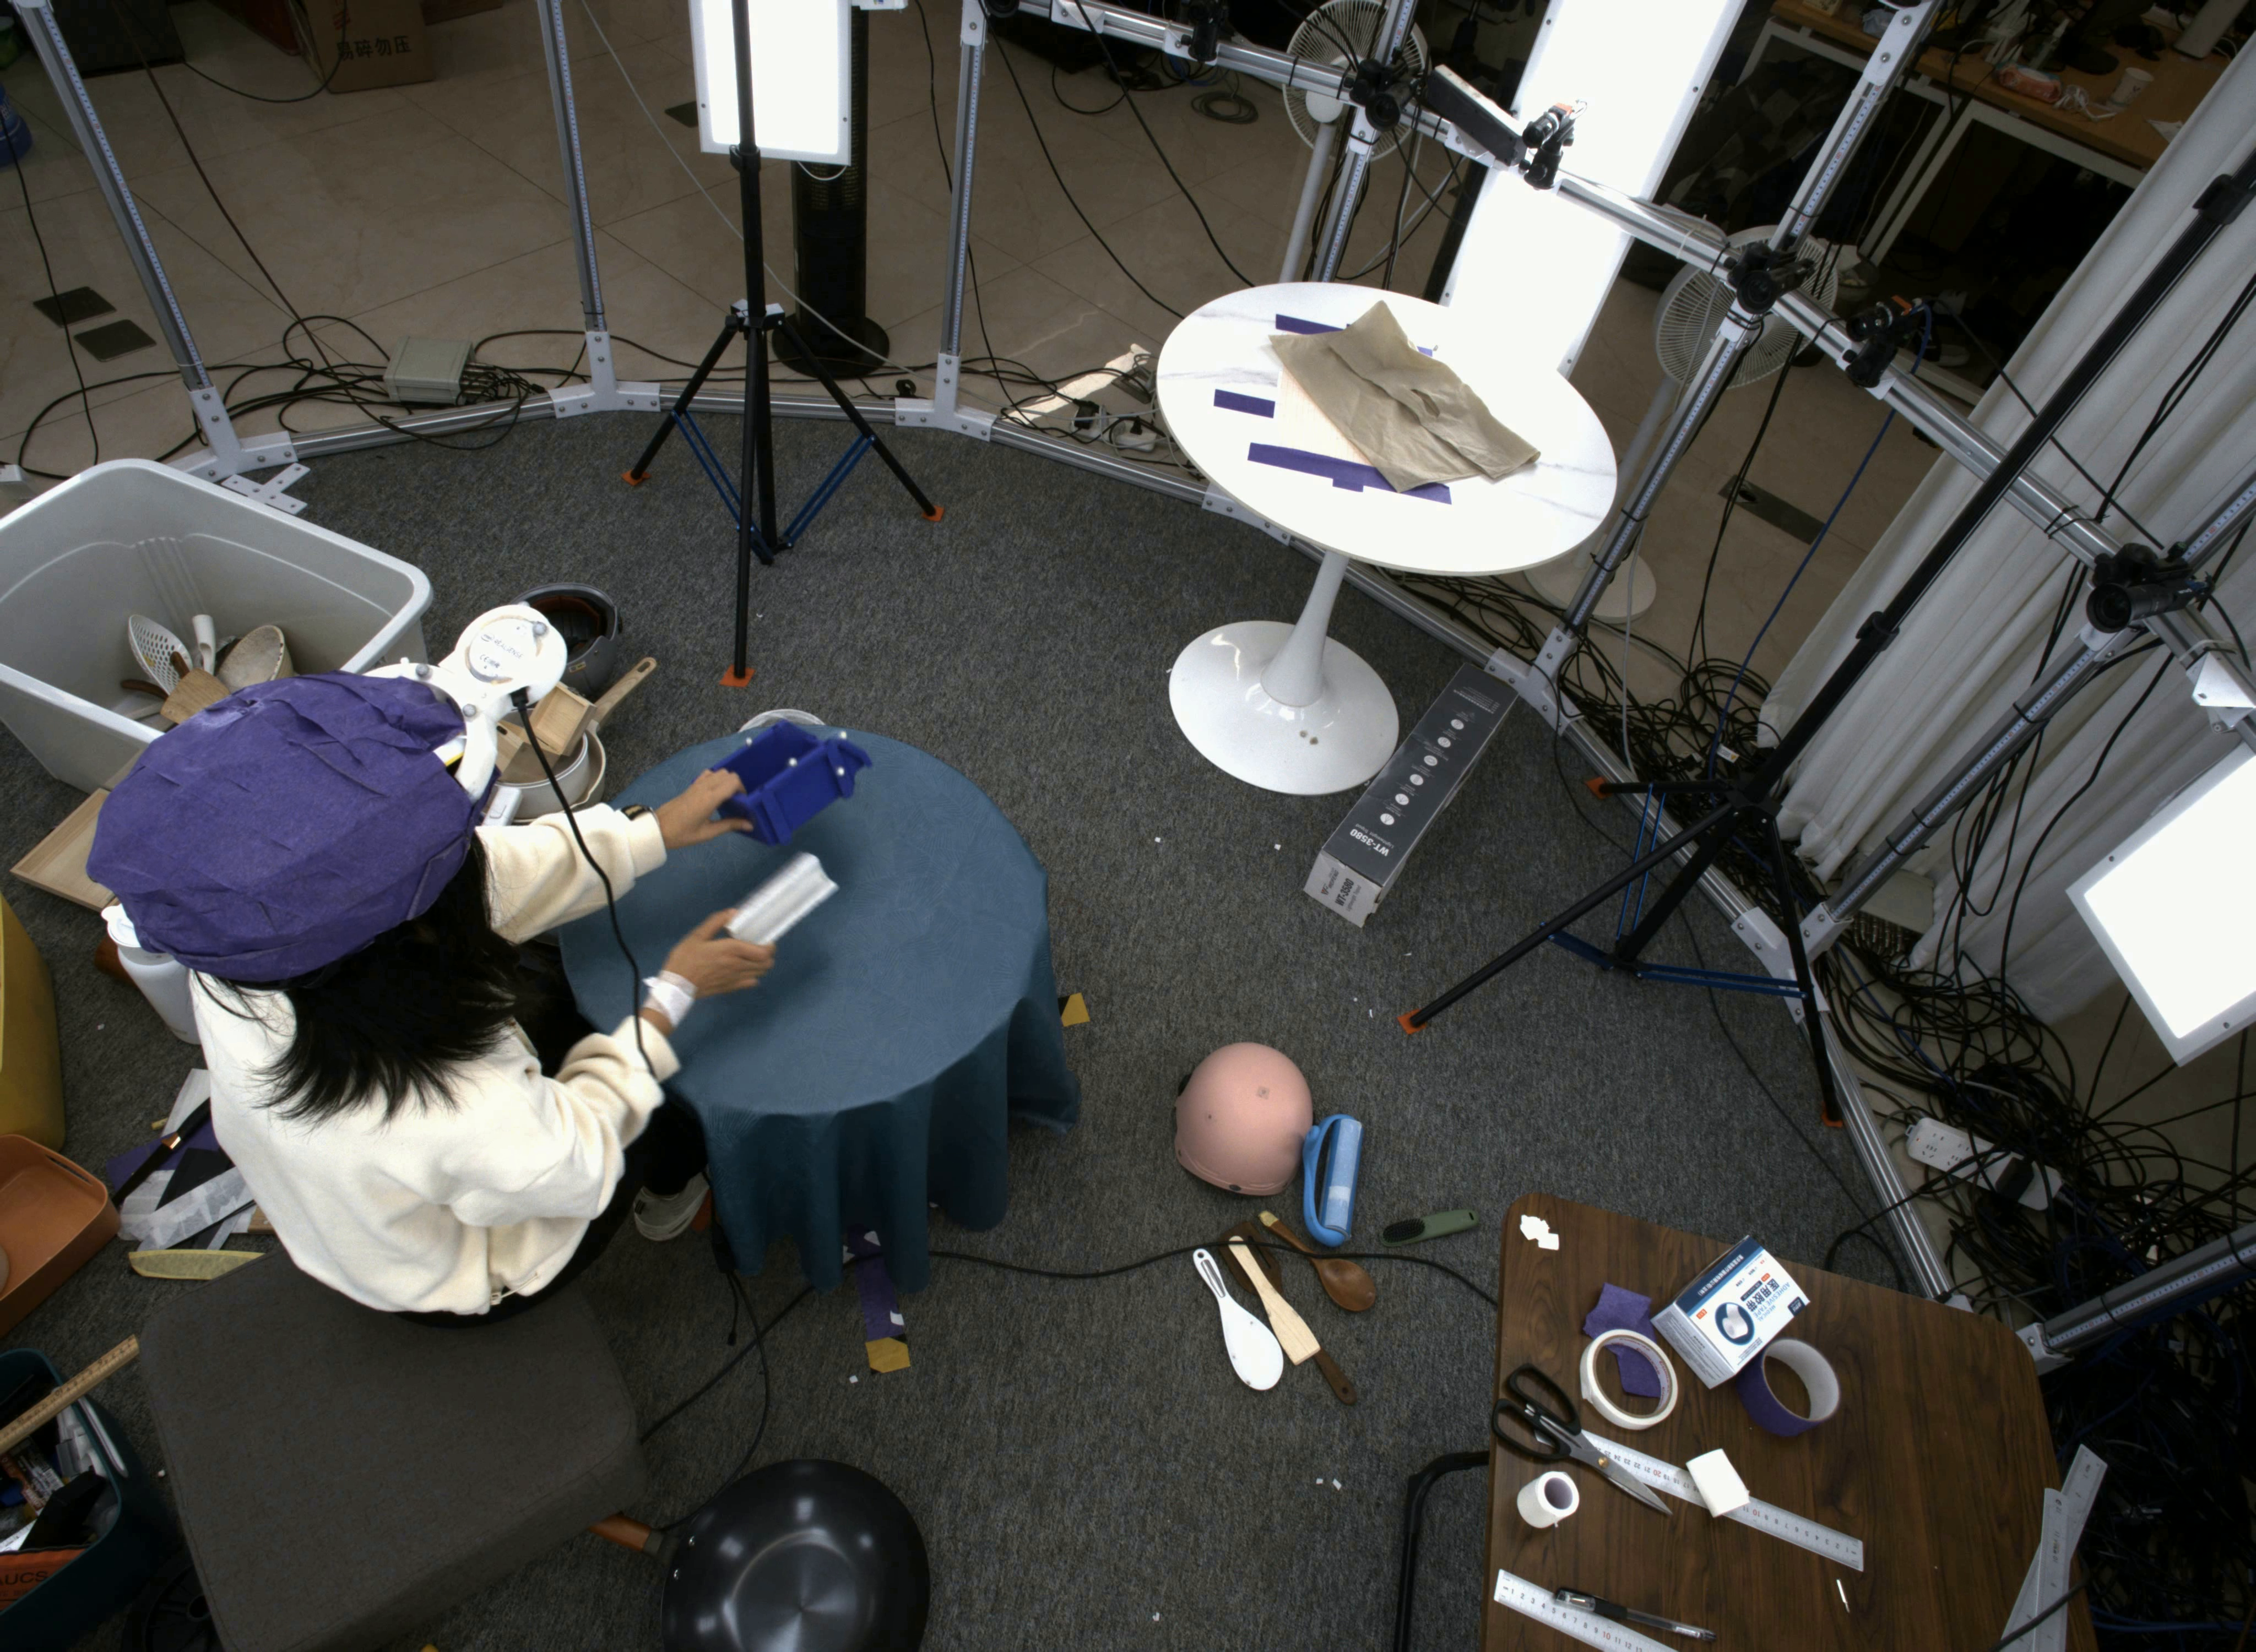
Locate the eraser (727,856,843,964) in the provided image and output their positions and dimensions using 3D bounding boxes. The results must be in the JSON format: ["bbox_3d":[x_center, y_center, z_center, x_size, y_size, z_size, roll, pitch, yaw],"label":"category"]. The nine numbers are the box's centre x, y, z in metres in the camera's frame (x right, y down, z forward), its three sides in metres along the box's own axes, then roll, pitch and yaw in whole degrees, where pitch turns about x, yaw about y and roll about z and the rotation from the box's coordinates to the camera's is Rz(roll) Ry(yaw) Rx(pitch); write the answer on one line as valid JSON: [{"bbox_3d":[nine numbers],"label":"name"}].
[{"bbox_3d":[-0.407,0.096,1.532,0.045,0.051,0.134,8,47,49],"label":"eraser"}]

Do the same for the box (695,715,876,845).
[{"bbox_3d":[-0.424,-0.064,1.611,0.120,0.085,0.179,19,48,37],"label":"box"}]
